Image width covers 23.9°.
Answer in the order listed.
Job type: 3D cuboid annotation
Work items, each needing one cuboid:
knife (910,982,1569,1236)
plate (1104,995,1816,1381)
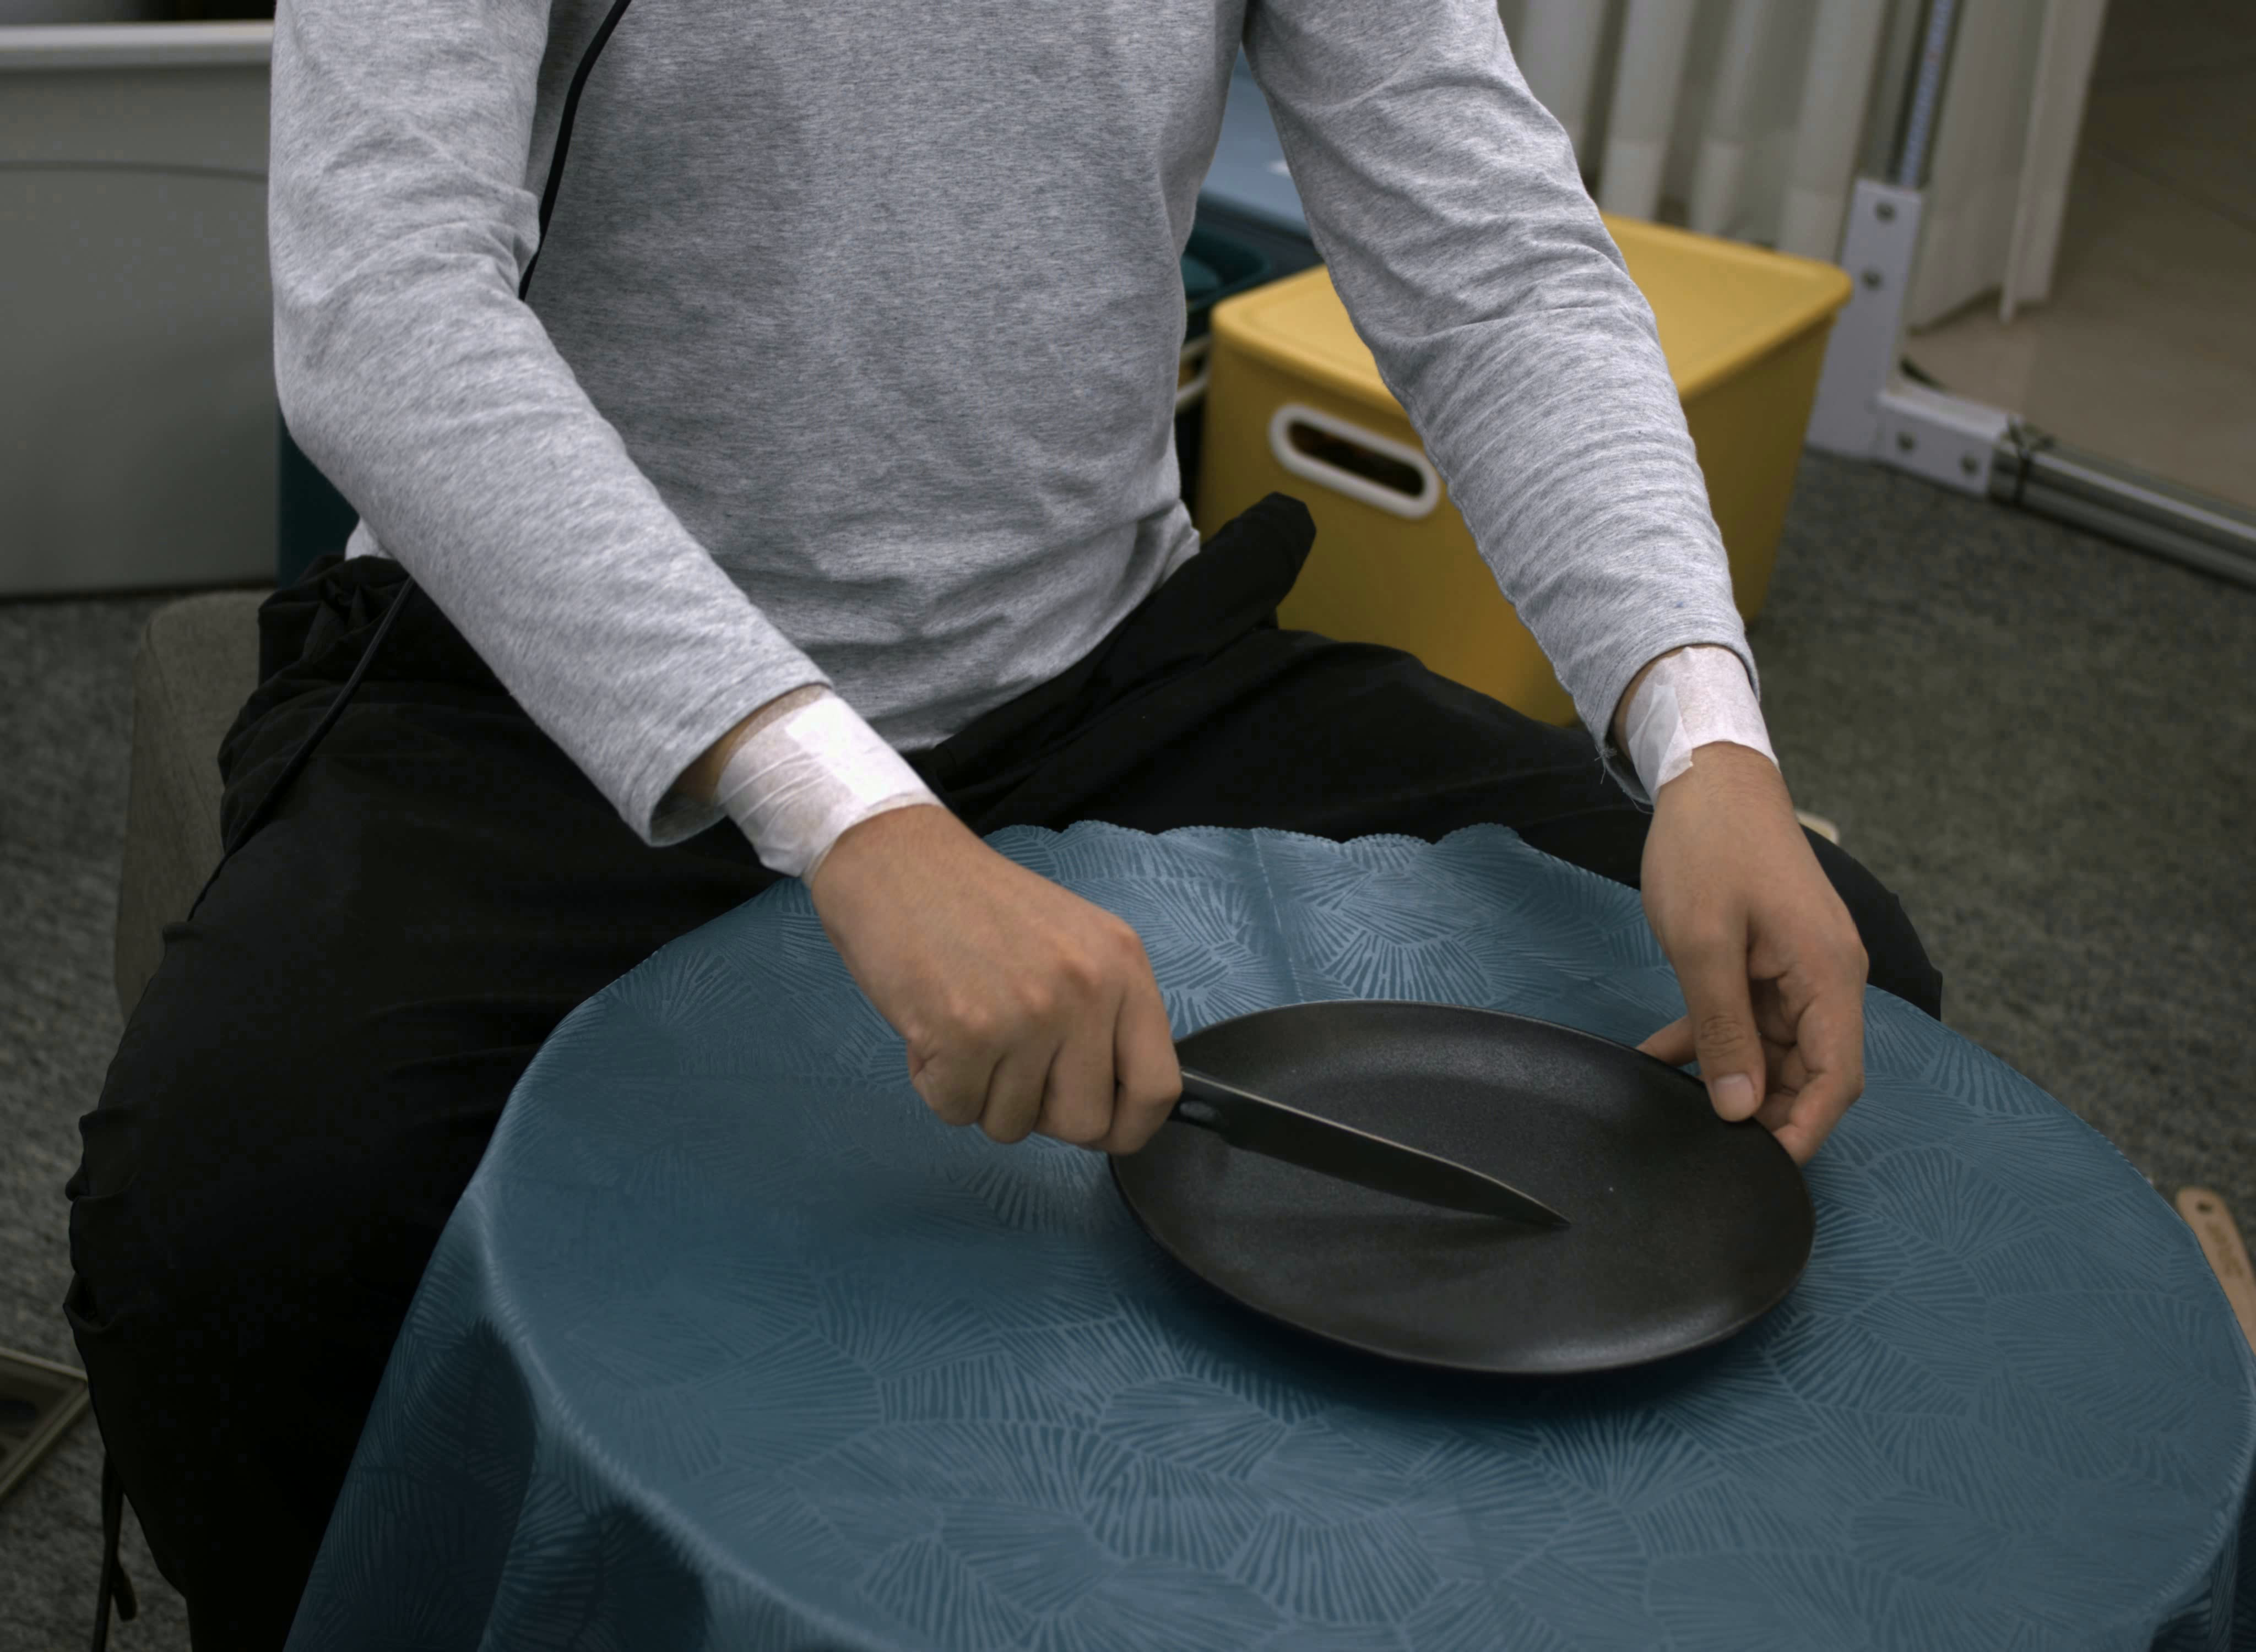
[{"bbox_3d":[0.041,0.096,1.777,0.237,0.024,0.016,20,30,-10],"label":"knife"},{"bbox_3d":[0.111,0.126,1.800,0.243,0.023,0.246,5,27,-3],"label":"plate"}]
